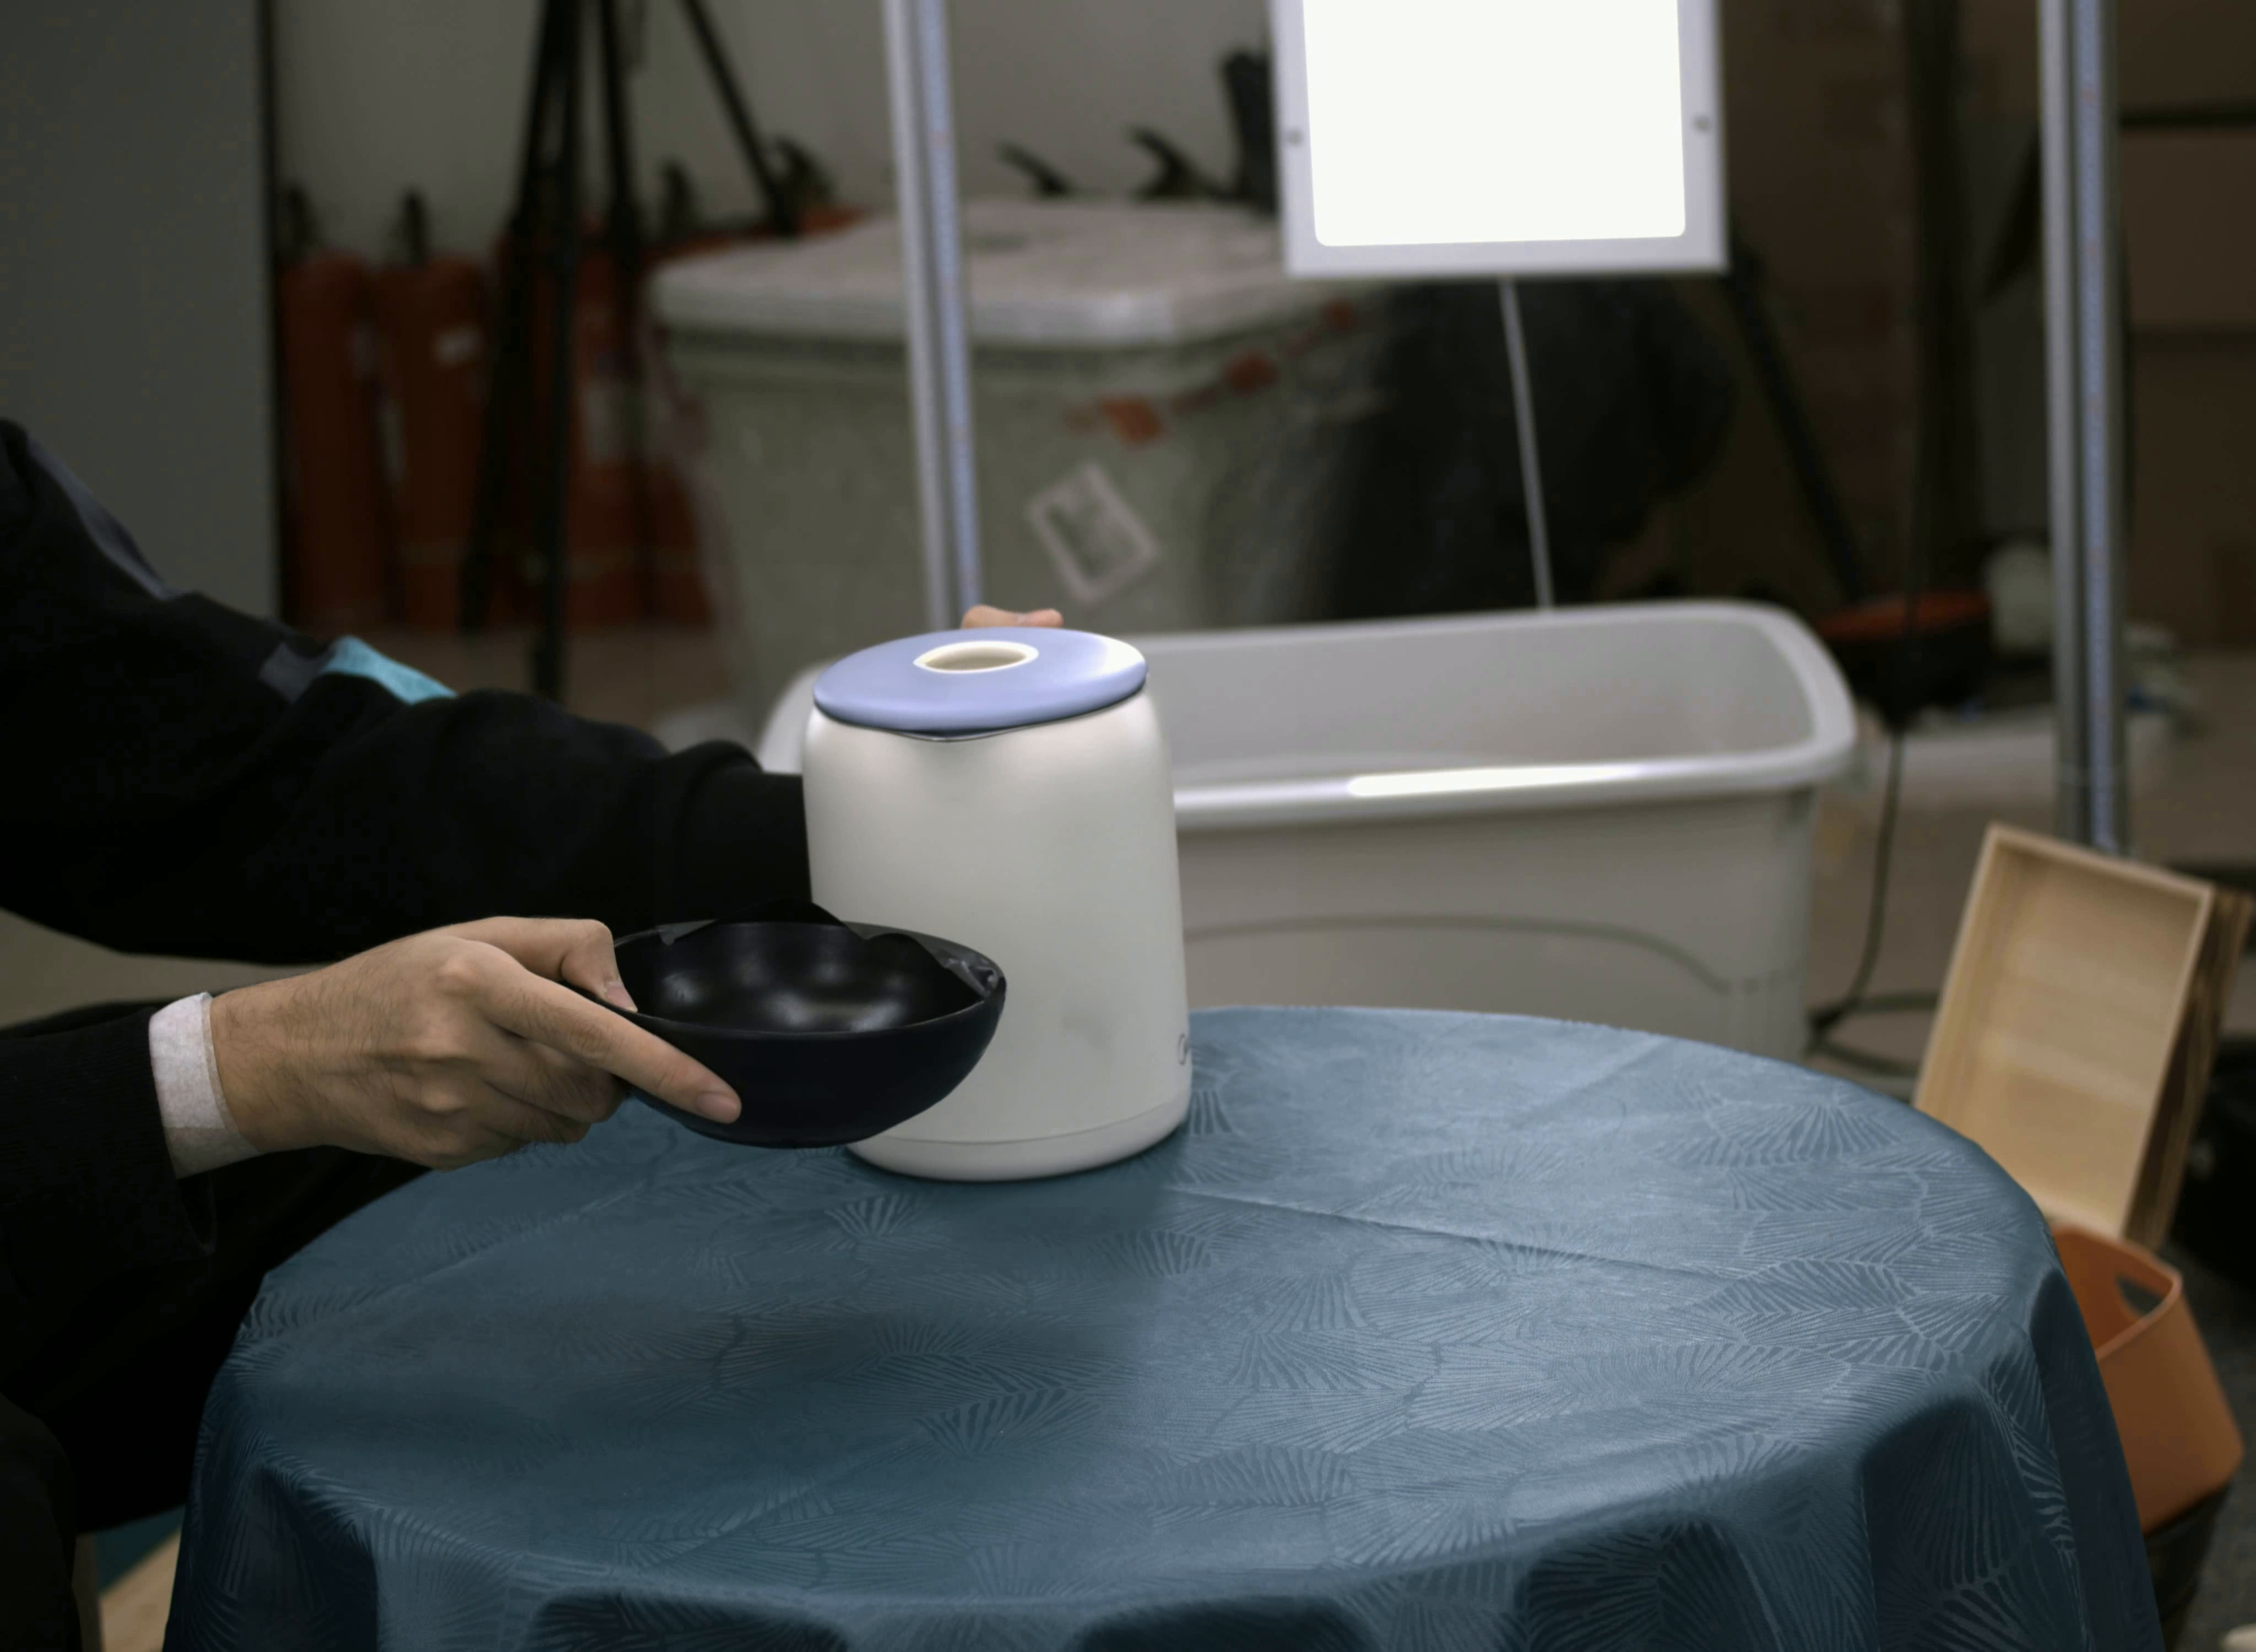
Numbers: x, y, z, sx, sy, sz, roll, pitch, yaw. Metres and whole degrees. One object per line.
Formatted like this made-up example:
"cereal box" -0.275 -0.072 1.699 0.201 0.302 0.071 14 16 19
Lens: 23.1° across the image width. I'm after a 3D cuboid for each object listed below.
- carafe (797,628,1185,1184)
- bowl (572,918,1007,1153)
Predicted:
"carafe" -0.046 0.022 1.973 0.133 0.183 0.189 -1 13 8
"bowl" -0.107 0.071 1.767 0.139 0.050 0.140 -2 14 -1
